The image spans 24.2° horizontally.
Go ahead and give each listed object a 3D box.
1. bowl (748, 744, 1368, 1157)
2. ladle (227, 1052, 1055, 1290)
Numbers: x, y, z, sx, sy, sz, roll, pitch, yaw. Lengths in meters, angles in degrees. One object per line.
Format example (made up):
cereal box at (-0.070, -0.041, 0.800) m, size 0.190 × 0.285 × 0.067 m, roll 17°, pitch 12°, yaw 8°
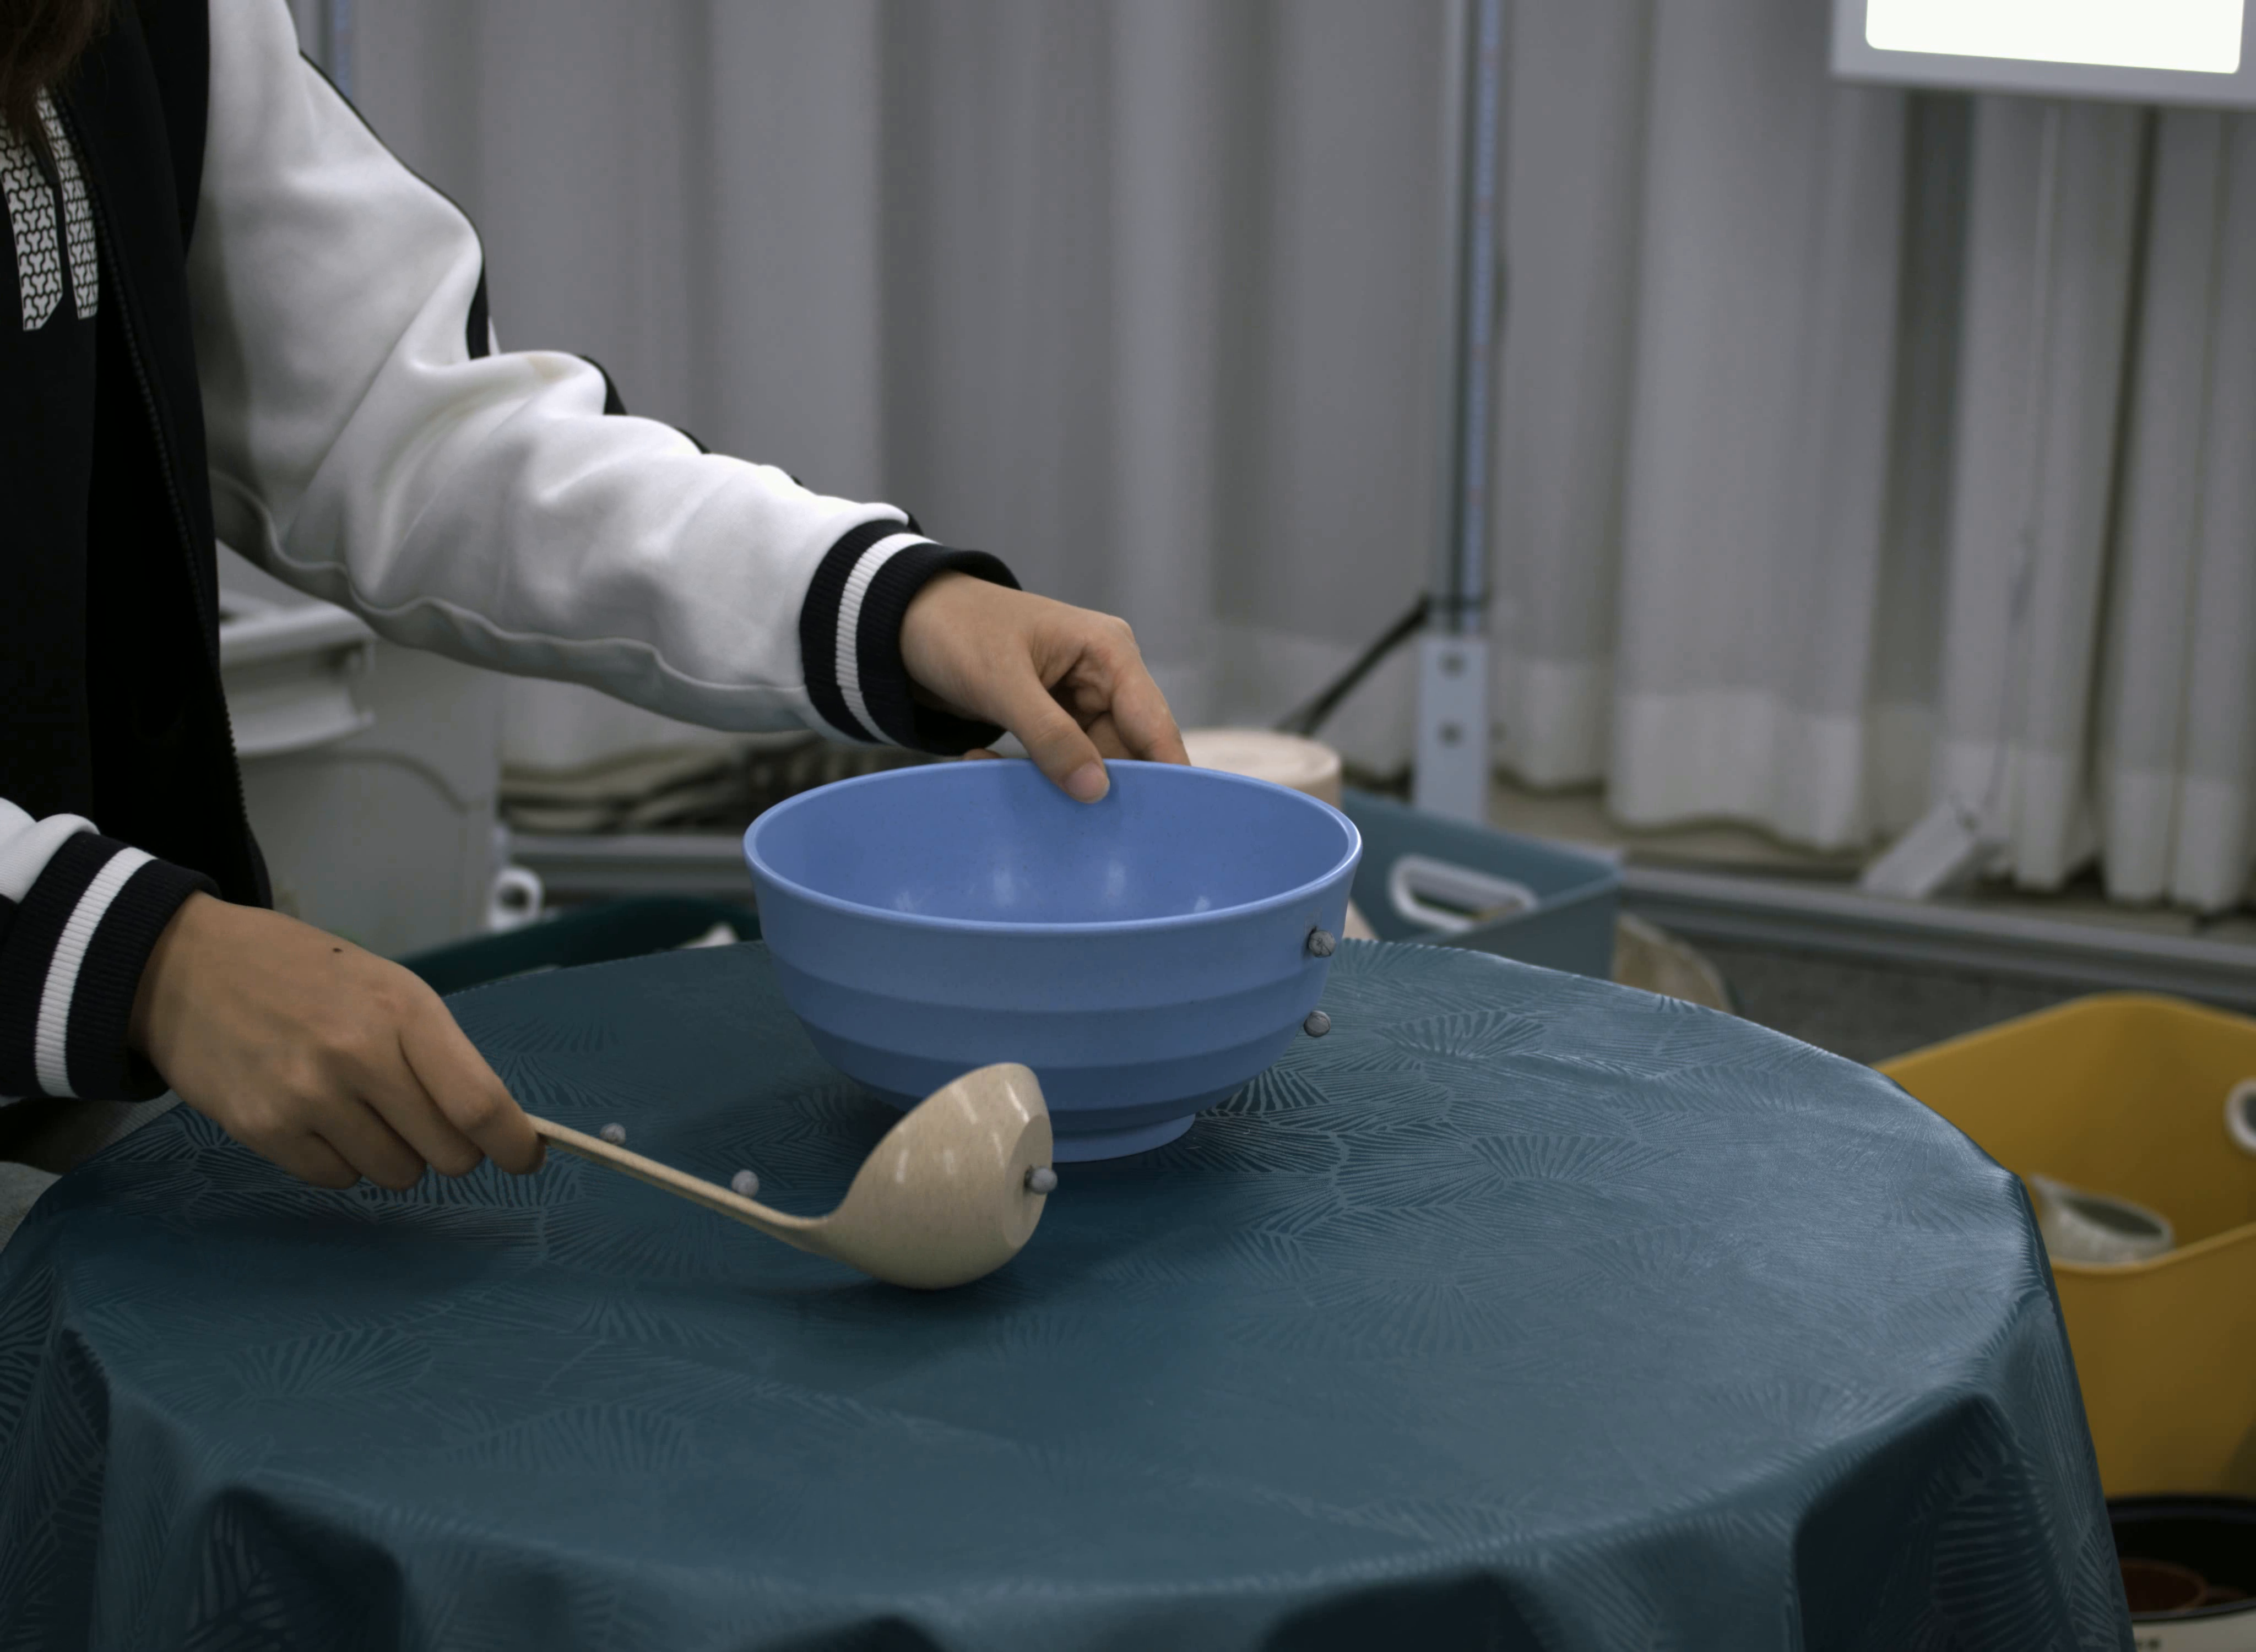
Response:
bowl at (-0.025, 0.046, 1.675) m, size 0.196 × 0.096 × 0.195 m, roll 4°, pitch 16°, yaw -1°
ladle at (-0.143, 0.074, 1.558) m, size 0.252 × 0.072 × 0.073 m, roll 16°, pitch -19°, yaw 18°
